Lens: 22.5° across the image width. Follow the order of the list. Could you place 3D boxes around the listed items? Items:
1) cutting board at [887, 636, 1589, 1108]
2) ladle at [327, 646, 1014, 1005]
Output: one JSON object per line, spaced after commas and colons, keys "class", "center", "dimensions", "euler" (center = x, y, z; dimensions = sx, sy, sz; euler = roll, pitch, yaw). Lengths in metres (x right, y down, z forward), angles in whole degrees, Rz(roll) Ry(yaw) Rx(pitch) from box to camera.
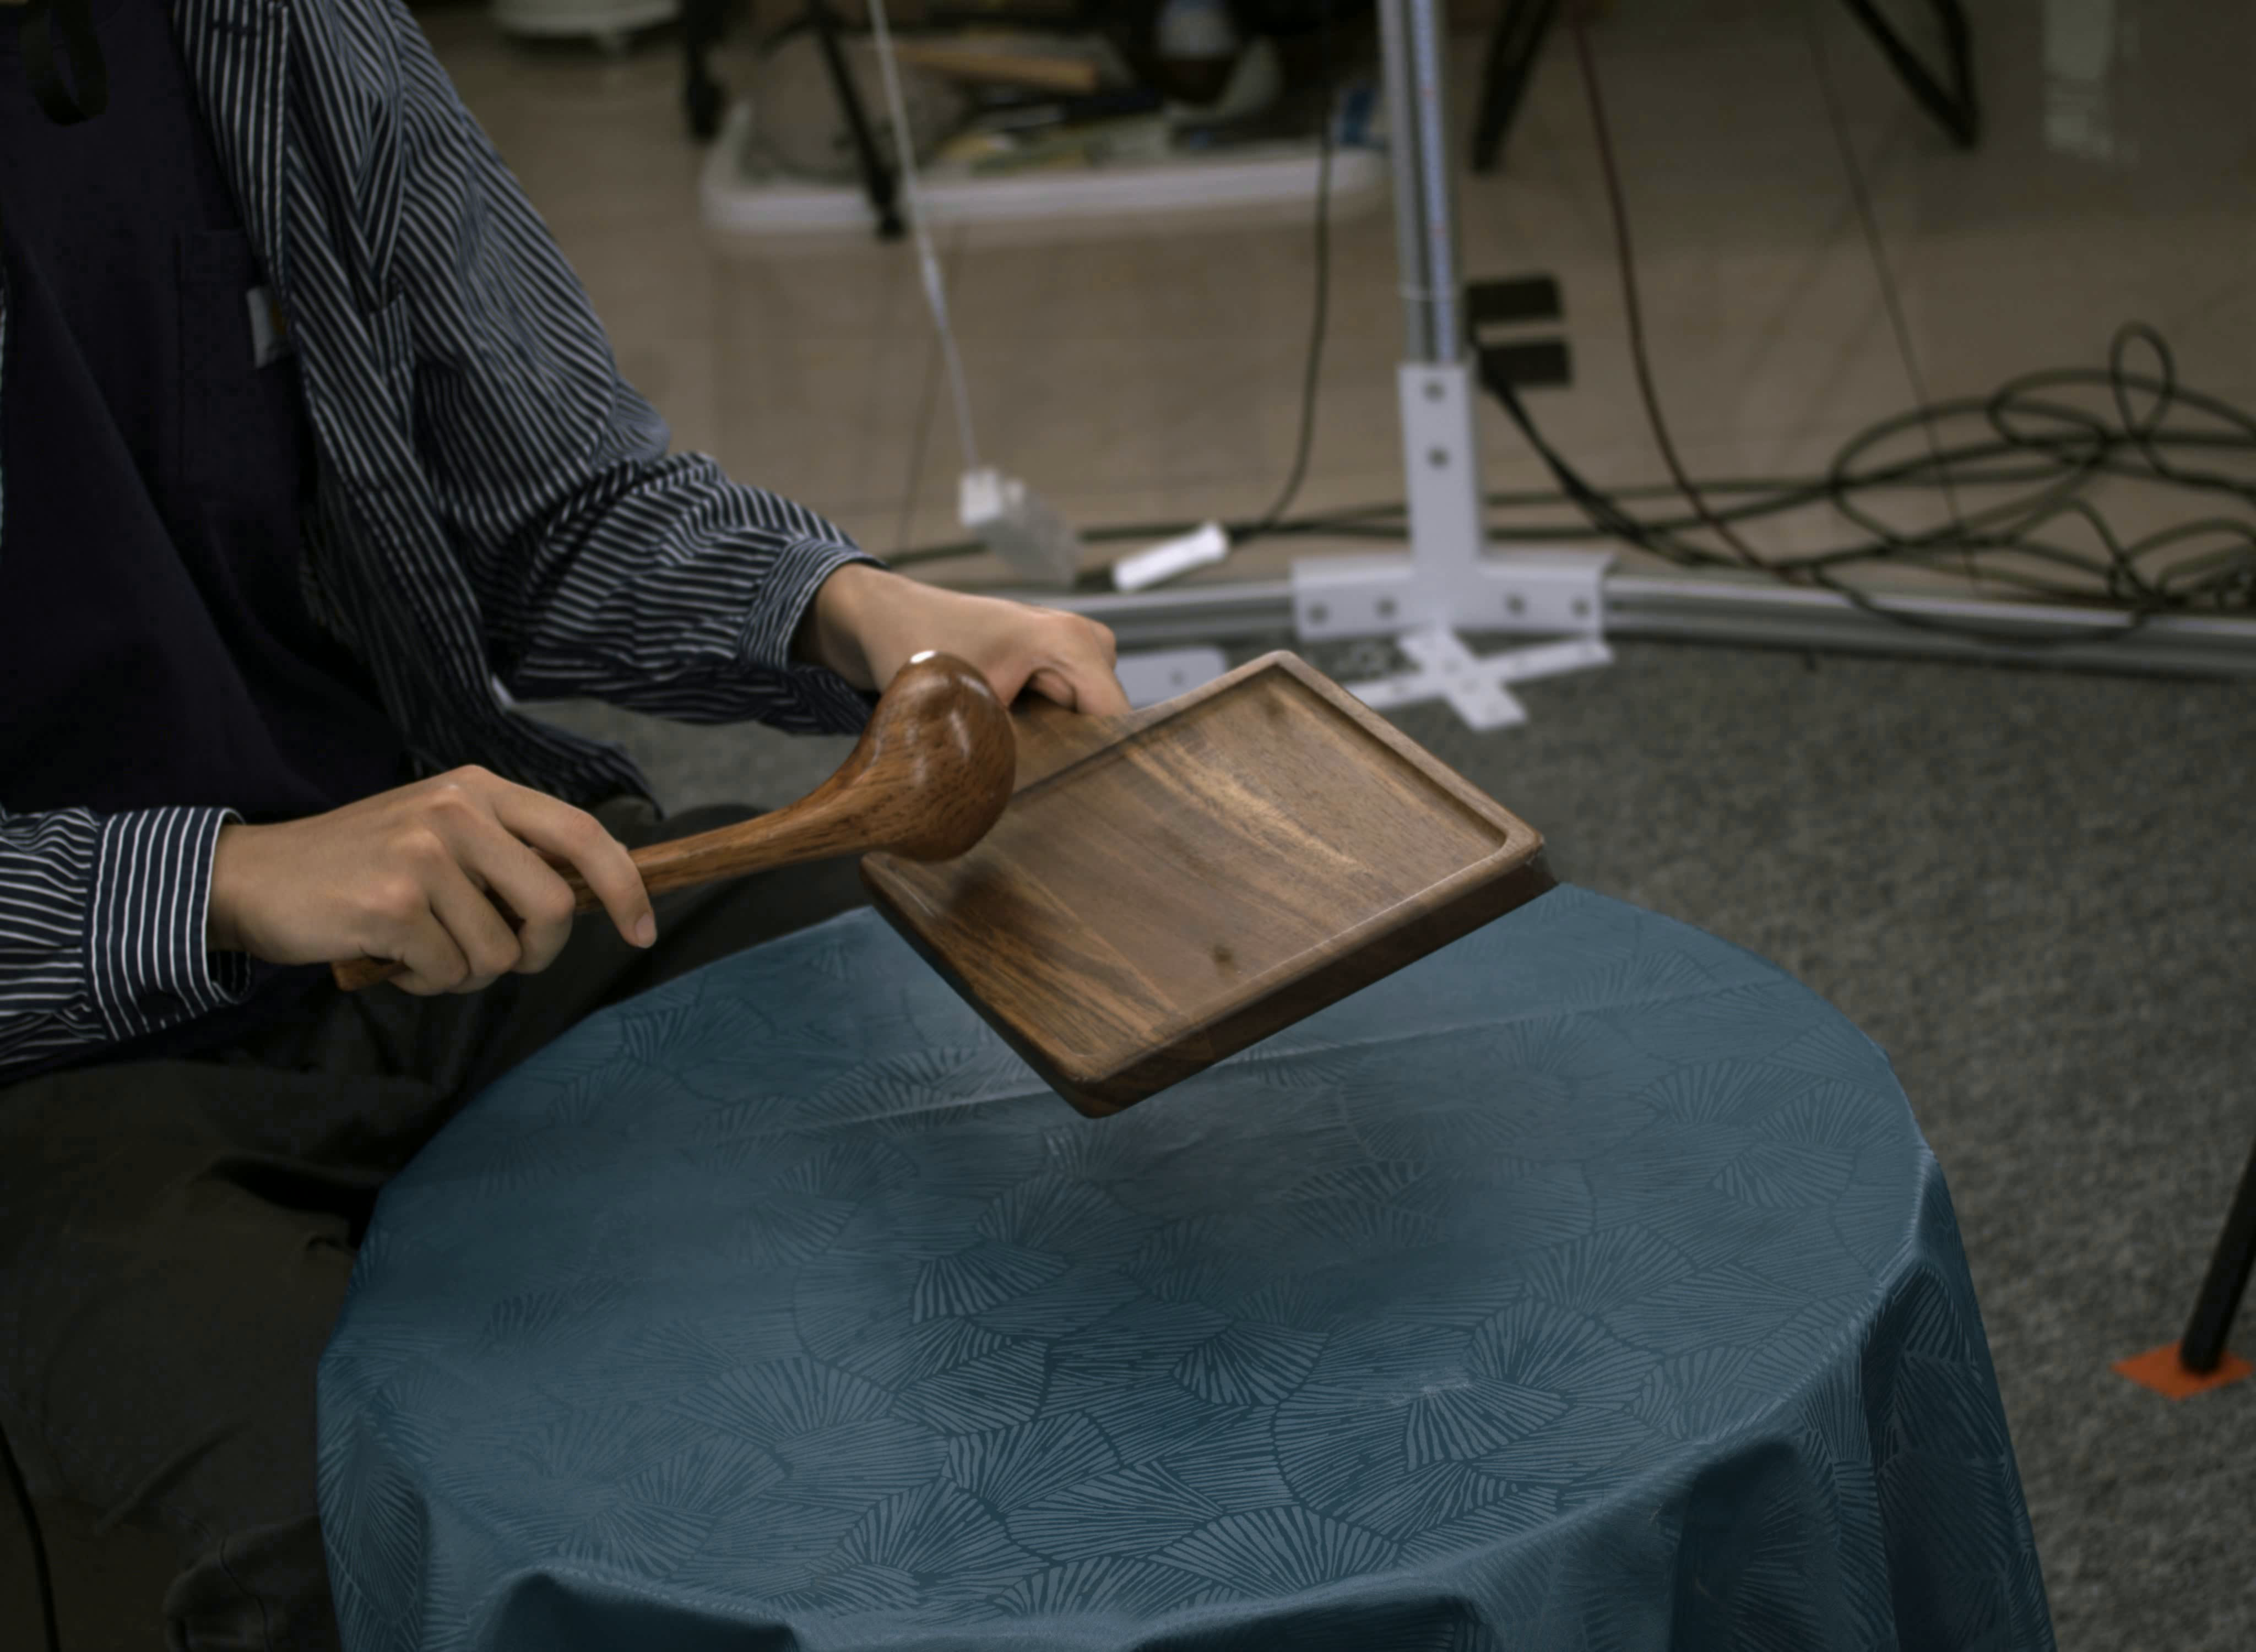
{"class": "cutting board", "center": [0.019, -0.004, 2.167], "dimensions": [0.200, 0.023, 0.348], "euler": [-27, 27, -11]}
{"class": "ladle", "center": [-0.173, 0.003, 2.147], "dimensions": [0.273, 0.083, 0.076], "euler": [-17, 21, -4]}
